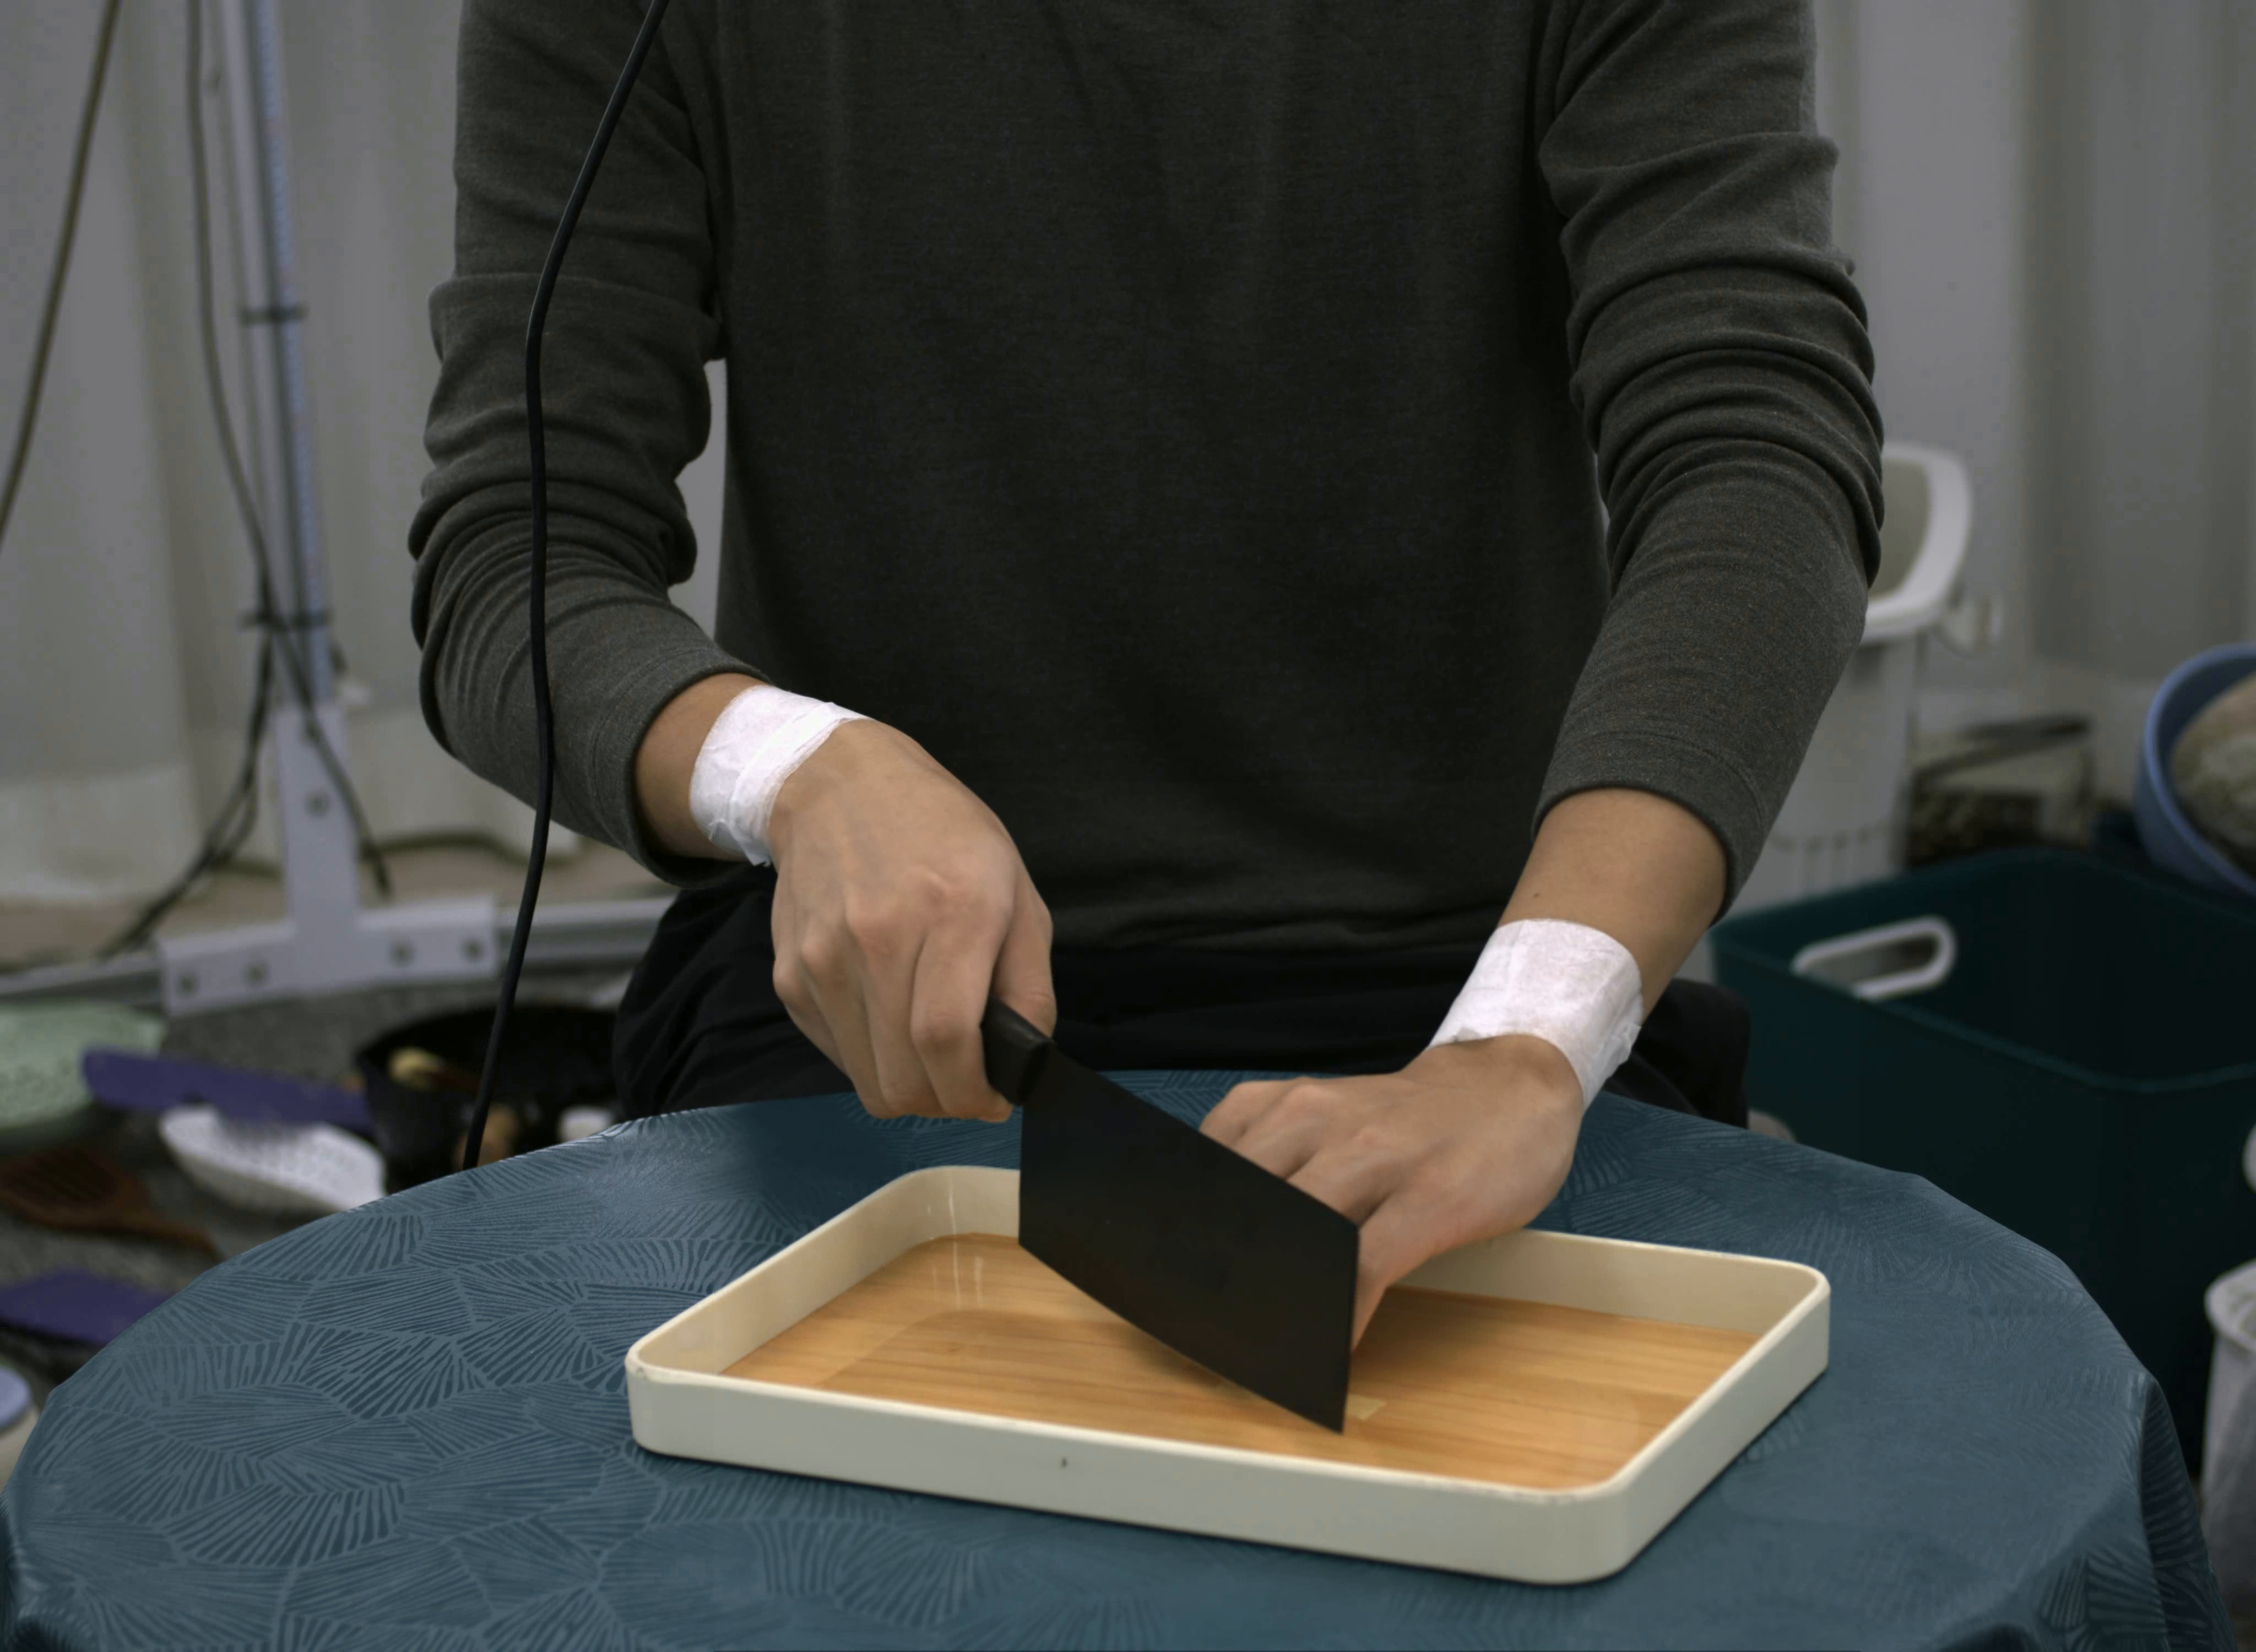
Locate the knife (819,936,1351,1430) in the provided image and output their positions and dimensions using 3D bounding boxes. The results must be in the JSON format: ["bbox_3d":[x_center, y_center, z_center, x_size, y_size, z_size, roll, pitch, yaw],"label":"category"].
[{"bbox_3d":[-0.016,0.094,1.568,0.021,0.080,0.305,-3,20,-29],"label":"knife"}]

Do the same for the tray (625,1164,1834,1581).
[{"bbox_3d":[0.029,0.149,1.530,0.301,0.027,0.192,5,16,27],"label":"tray"}]
